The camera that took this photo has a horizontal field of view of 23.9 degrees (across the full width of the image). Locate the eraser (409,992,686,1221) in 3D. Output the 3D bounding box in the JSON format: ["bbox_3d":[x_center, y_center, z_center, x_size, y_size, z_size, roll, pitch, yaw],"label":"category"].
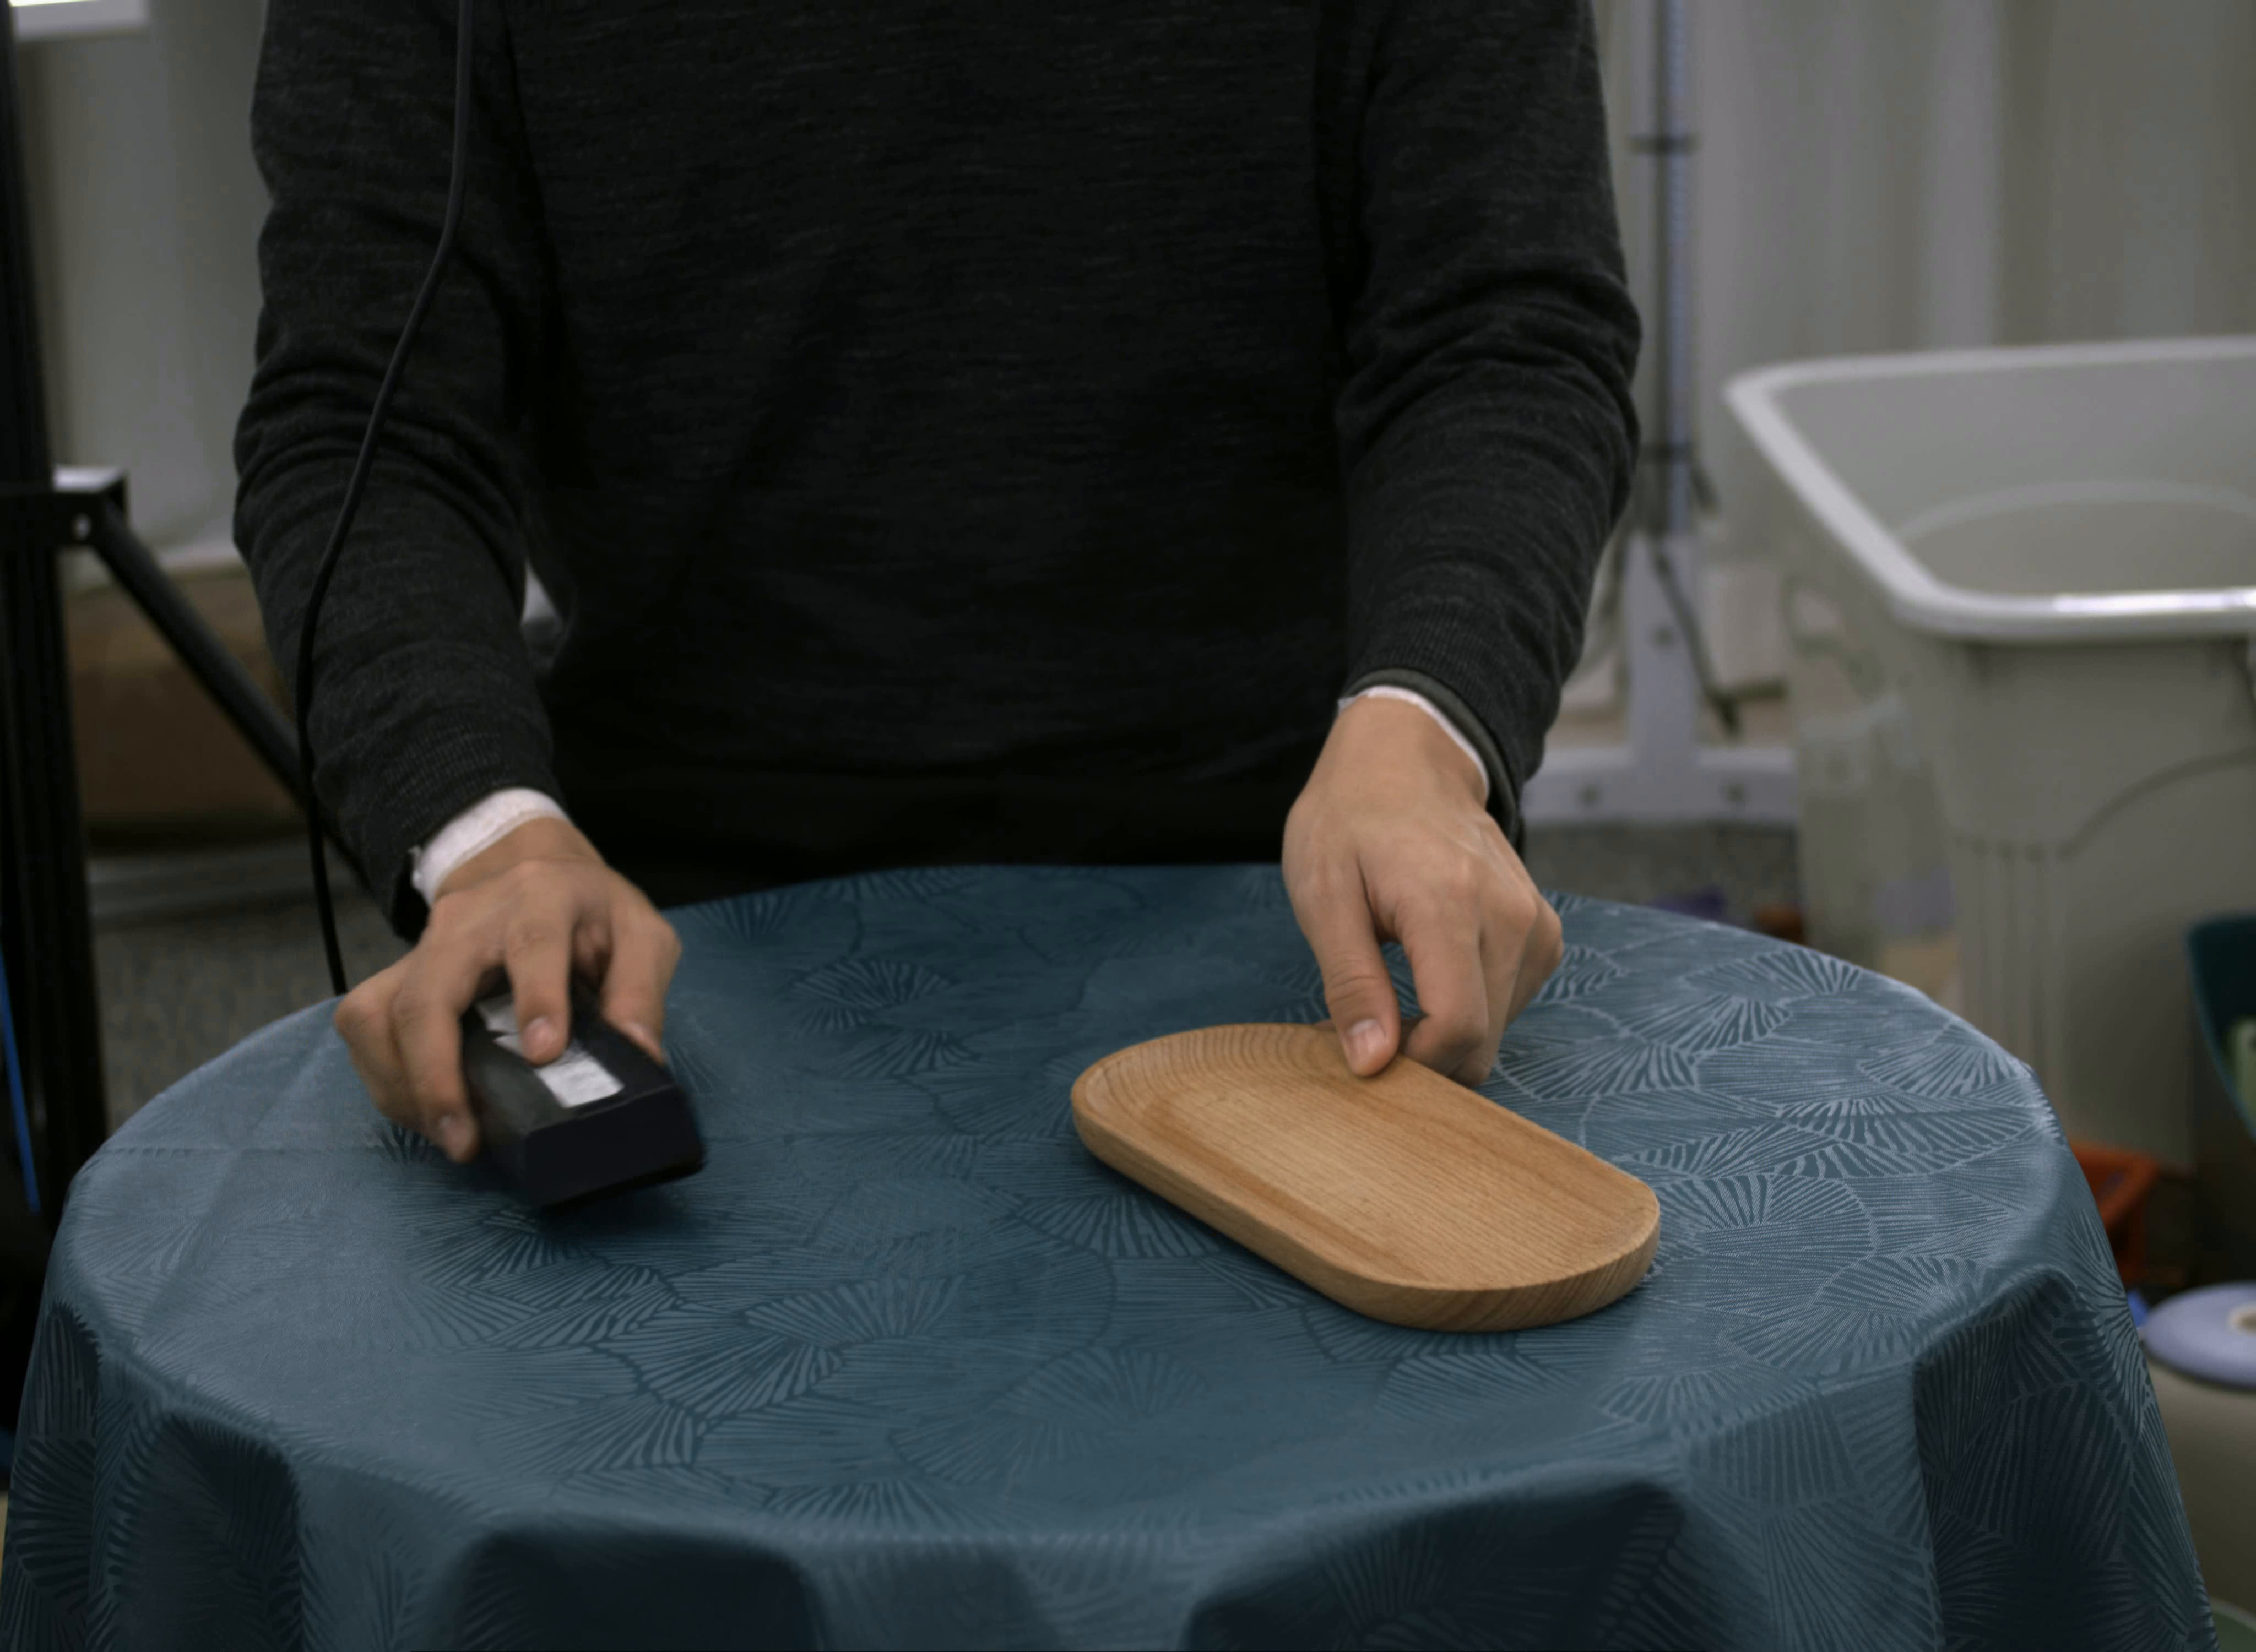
[{"bbox_3d":[-0.172,0.082,1.586,0.052,0.030,0.128,-14,18,-17],"label":"eraser"}]

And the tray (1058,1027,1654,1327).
[{"bbox_3d":[0.064,0.100,1.534,0.099,0.020,0.236,-13,18,-27],"label":"tray"}]
